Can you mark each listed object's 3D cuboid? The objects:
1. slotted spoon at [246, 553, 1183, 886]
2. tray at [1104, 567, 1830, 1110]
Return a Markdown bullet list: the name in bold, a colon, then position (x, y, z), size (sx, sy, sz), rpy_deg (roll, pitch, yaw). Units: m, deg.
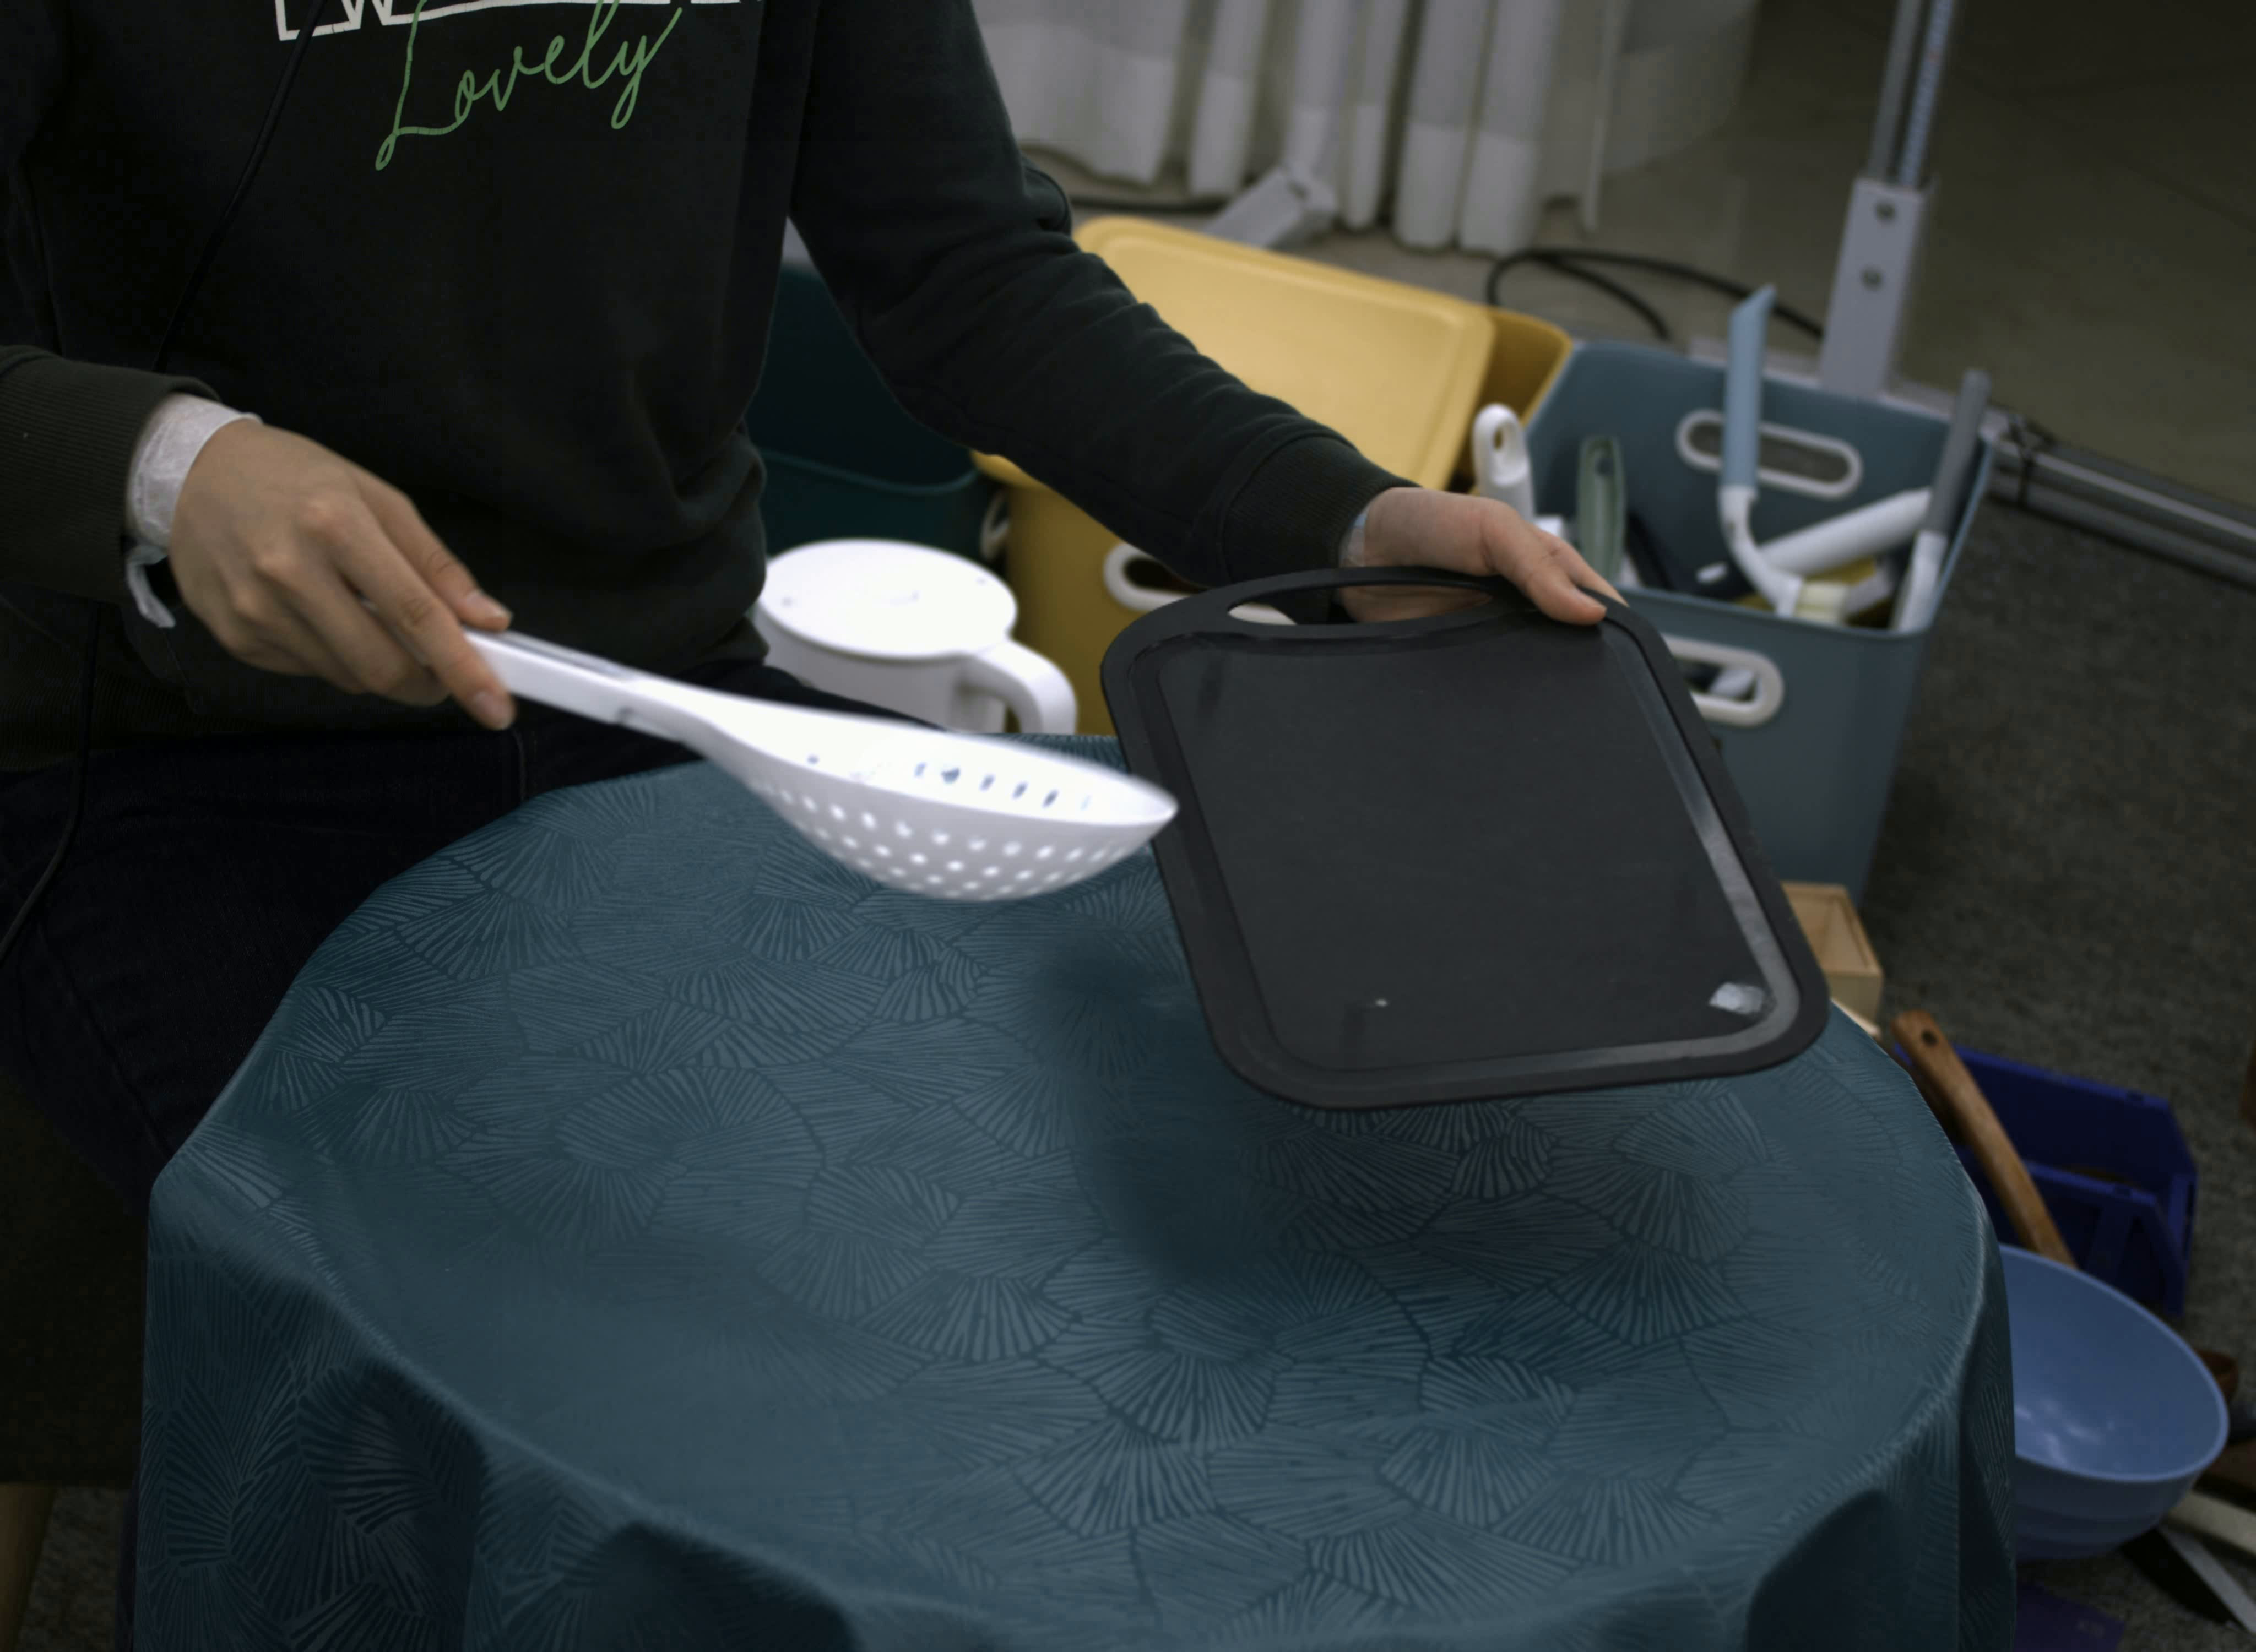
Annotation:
- **slotted spoon**: position (-0.141, -0.041, 1.668), size (0.352, 0.046, 0.135), rpy_deg (21, 14, 30)
- **tray**: position (0.109, -0.005, 1.850), size (0.210, 0.010, 0.328), rpy_deg (-5, 35, -8)
